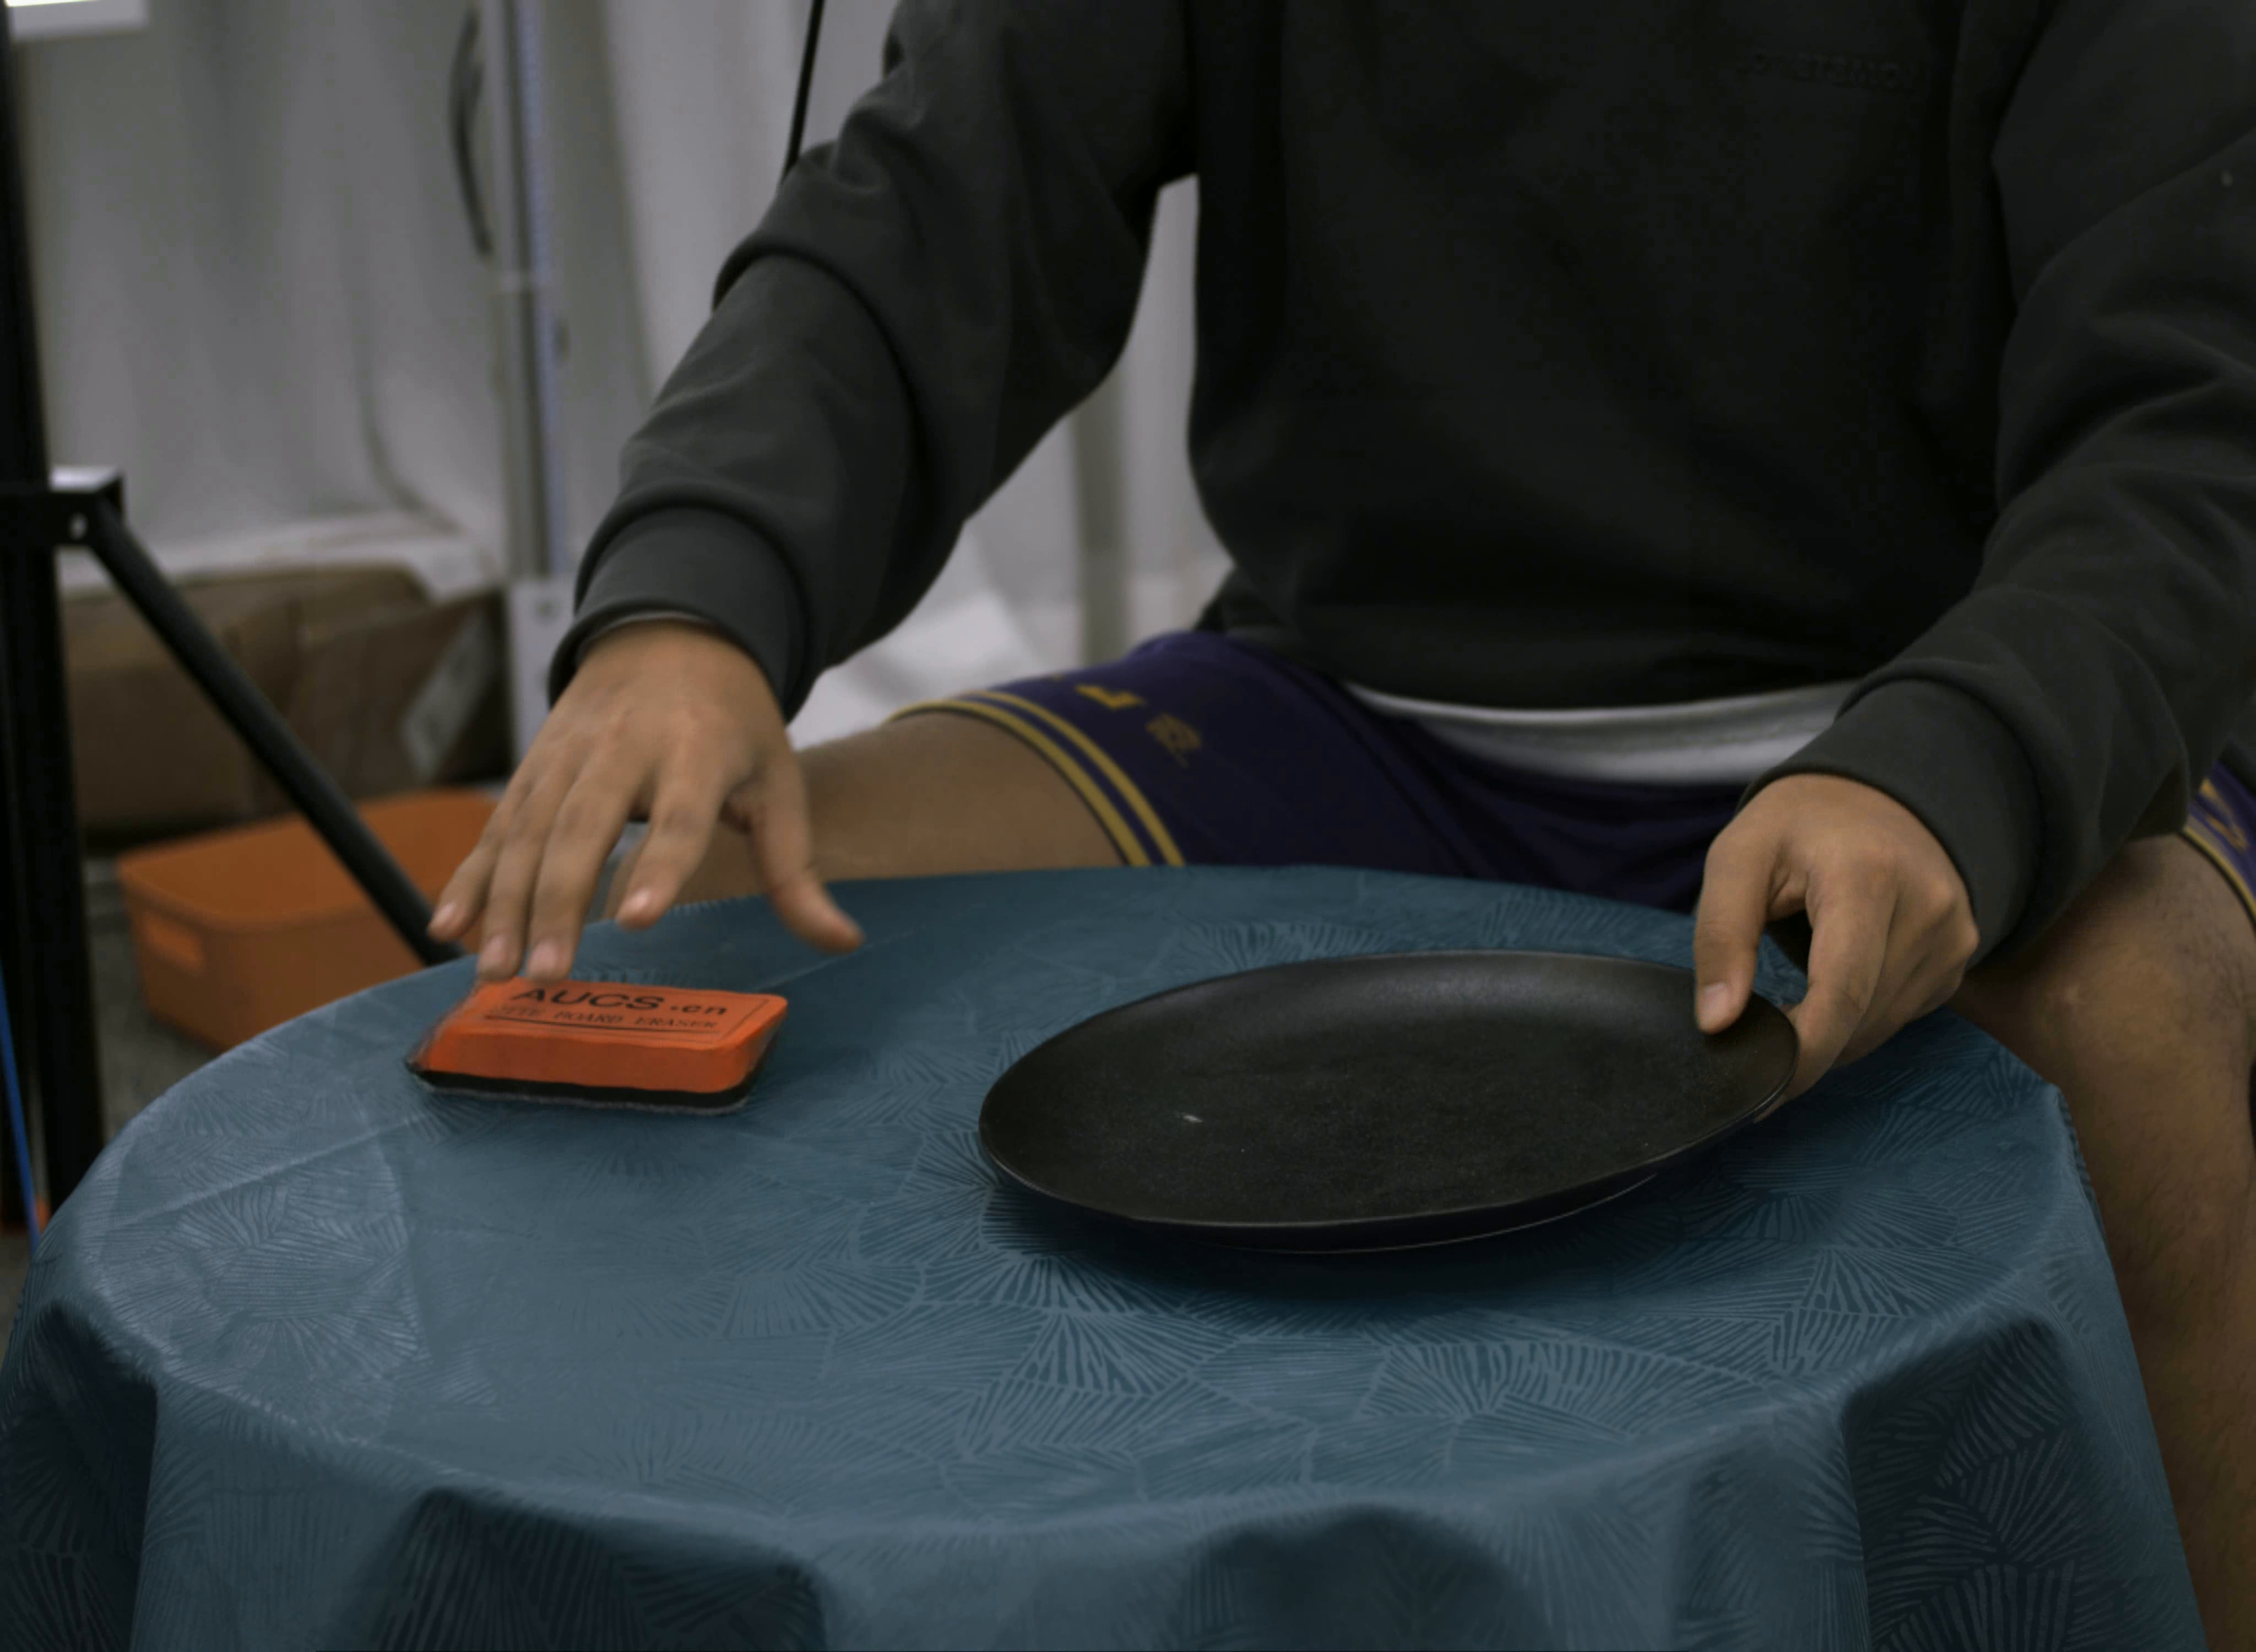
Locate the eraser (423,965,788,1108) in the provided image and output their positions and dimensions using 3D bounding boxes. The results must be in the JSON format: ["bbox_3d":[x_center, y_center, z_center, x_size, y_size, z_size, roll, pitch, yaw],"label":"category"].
[{"bbox_3d":[-0.164,0.066,1.683,0.109,0.023,0.058,5,18,20],"label":"eraser"}]

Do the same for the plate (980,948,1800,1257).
[{"bbox_3d":[0.078,0.084,1.566,0.243,0.023,0.245,-7,16,1],"label":"plate"}]
